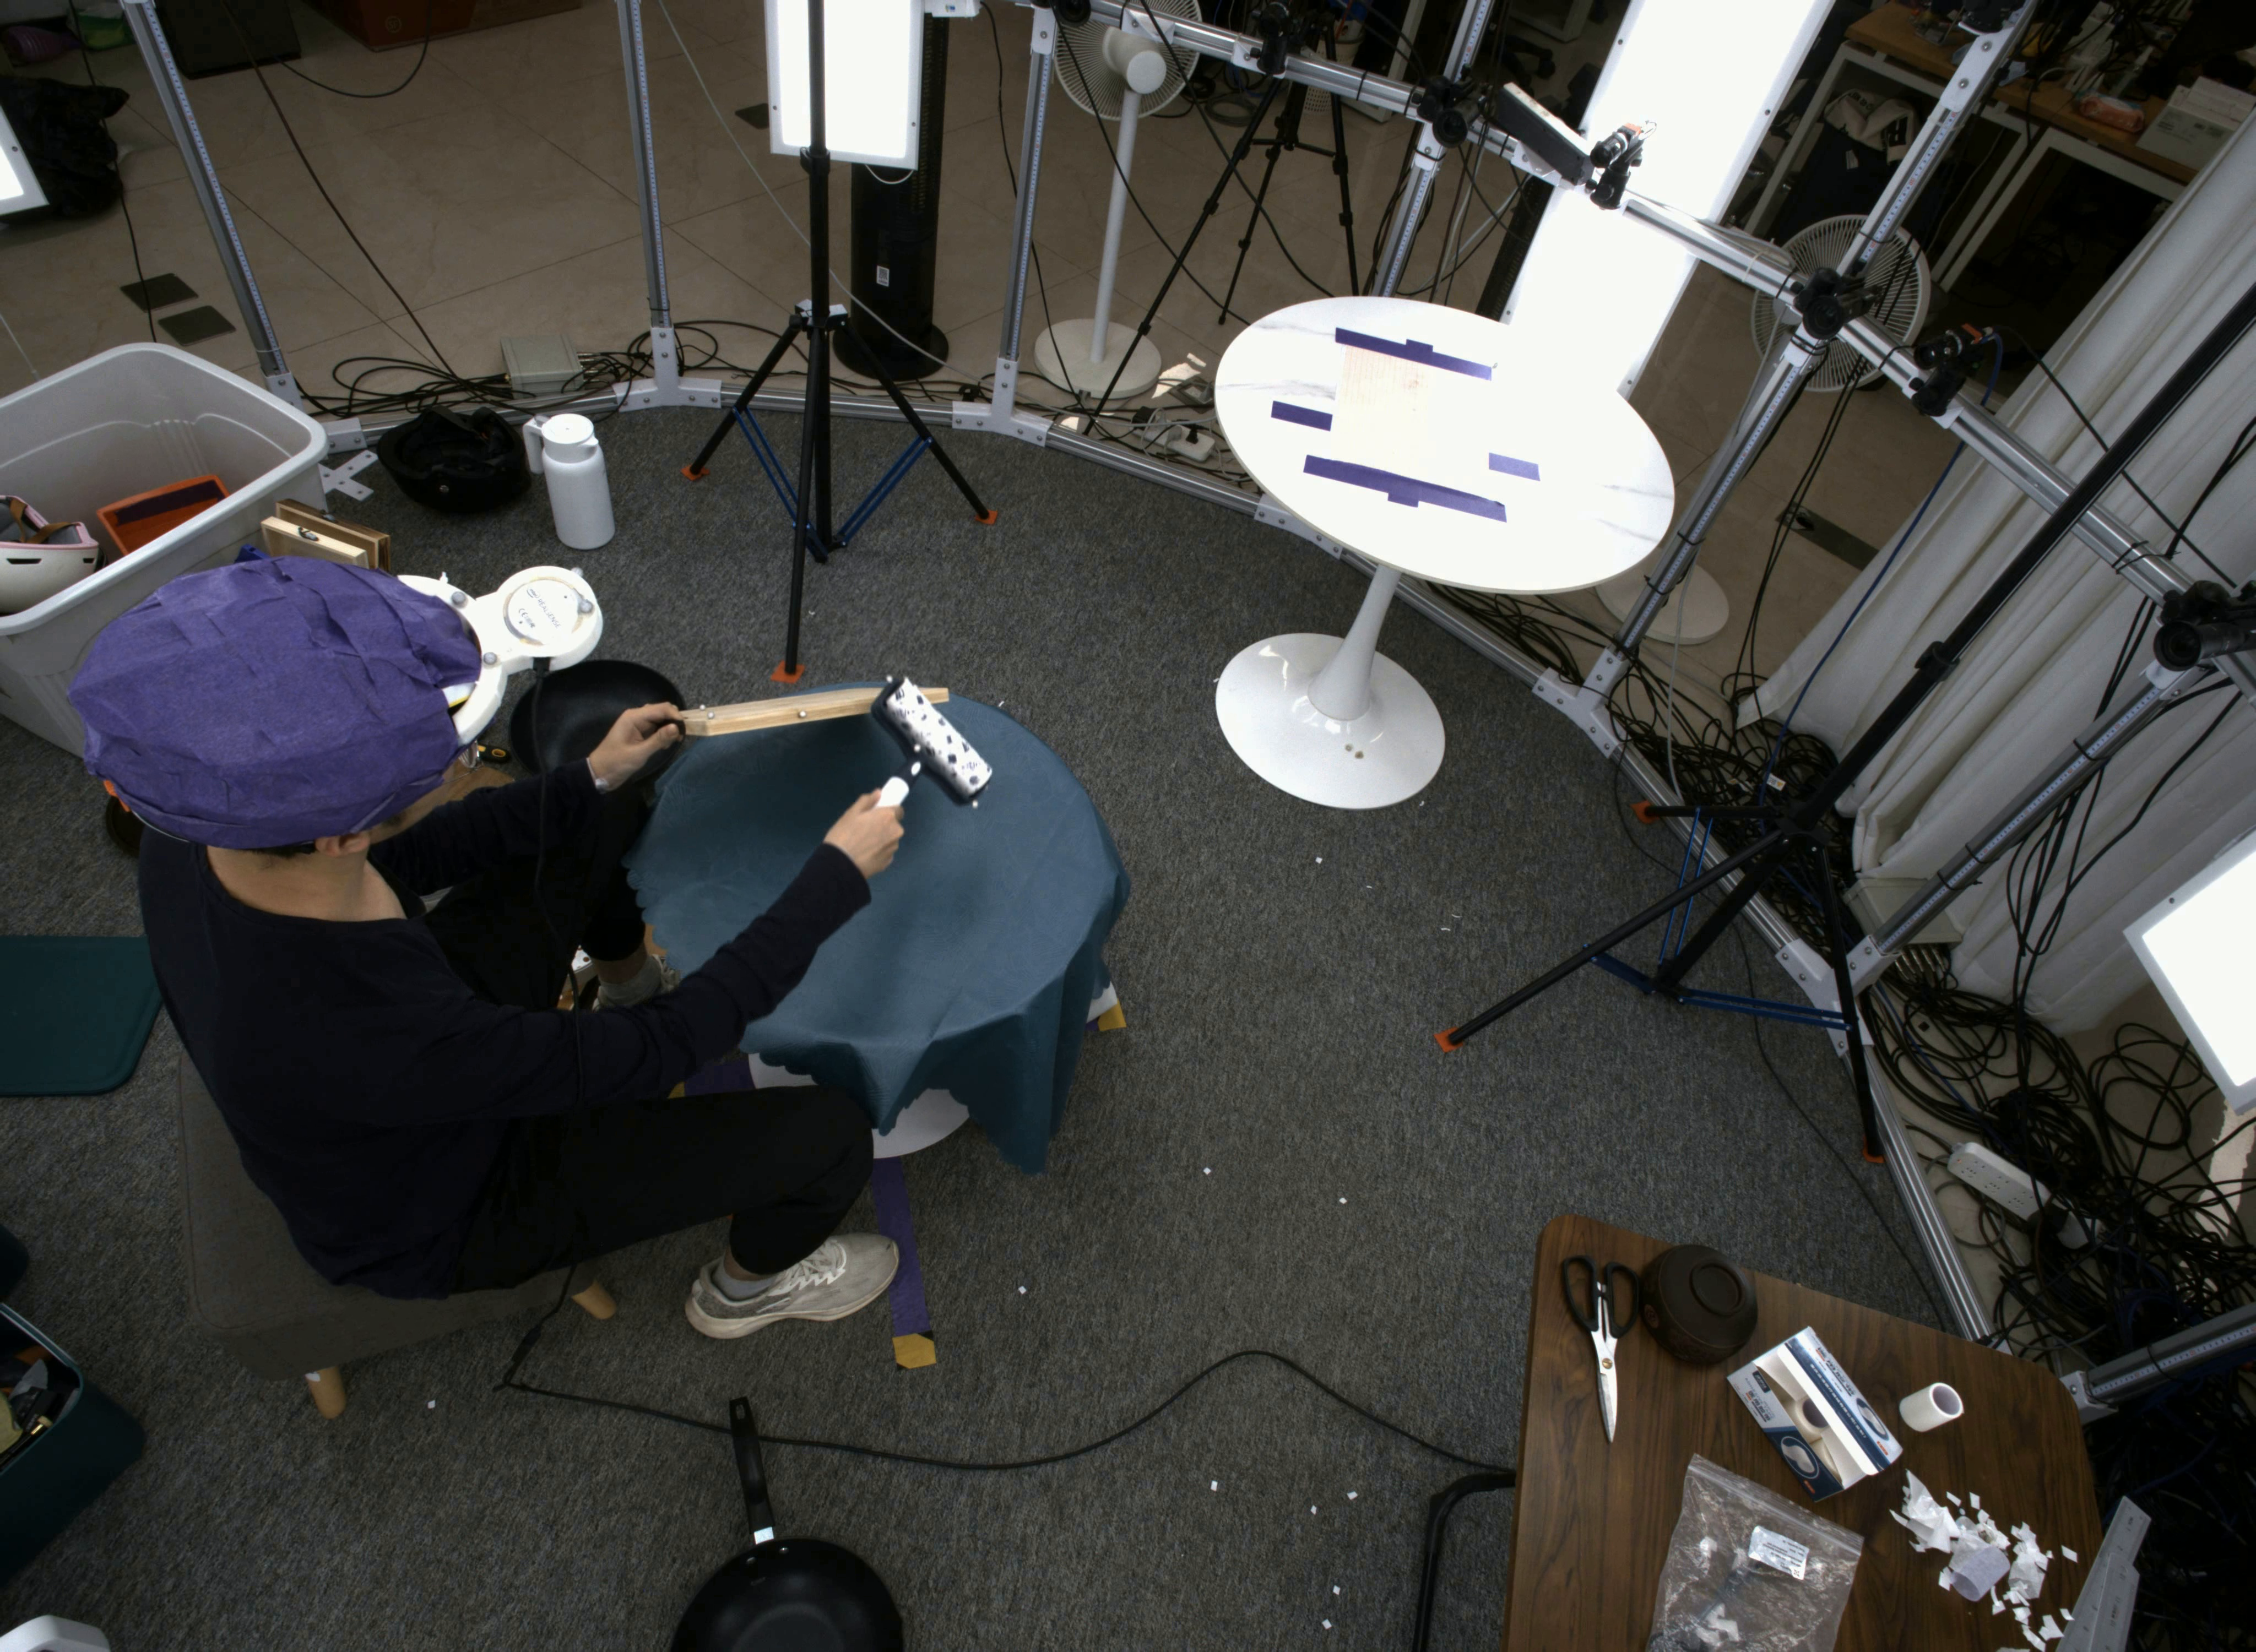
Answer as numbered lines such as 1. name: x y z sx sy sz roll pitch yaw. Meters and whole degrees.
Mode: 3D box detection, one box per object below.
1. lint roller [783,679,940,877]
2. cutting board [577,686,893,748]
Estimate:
1. lint roller: -0.335 -0.036 1.542 0.182 0.049 0.245 48 46 -26
2. cutting board: -0.507 -0.142 1.652 0.242 0.024 0.353 3 14 45
